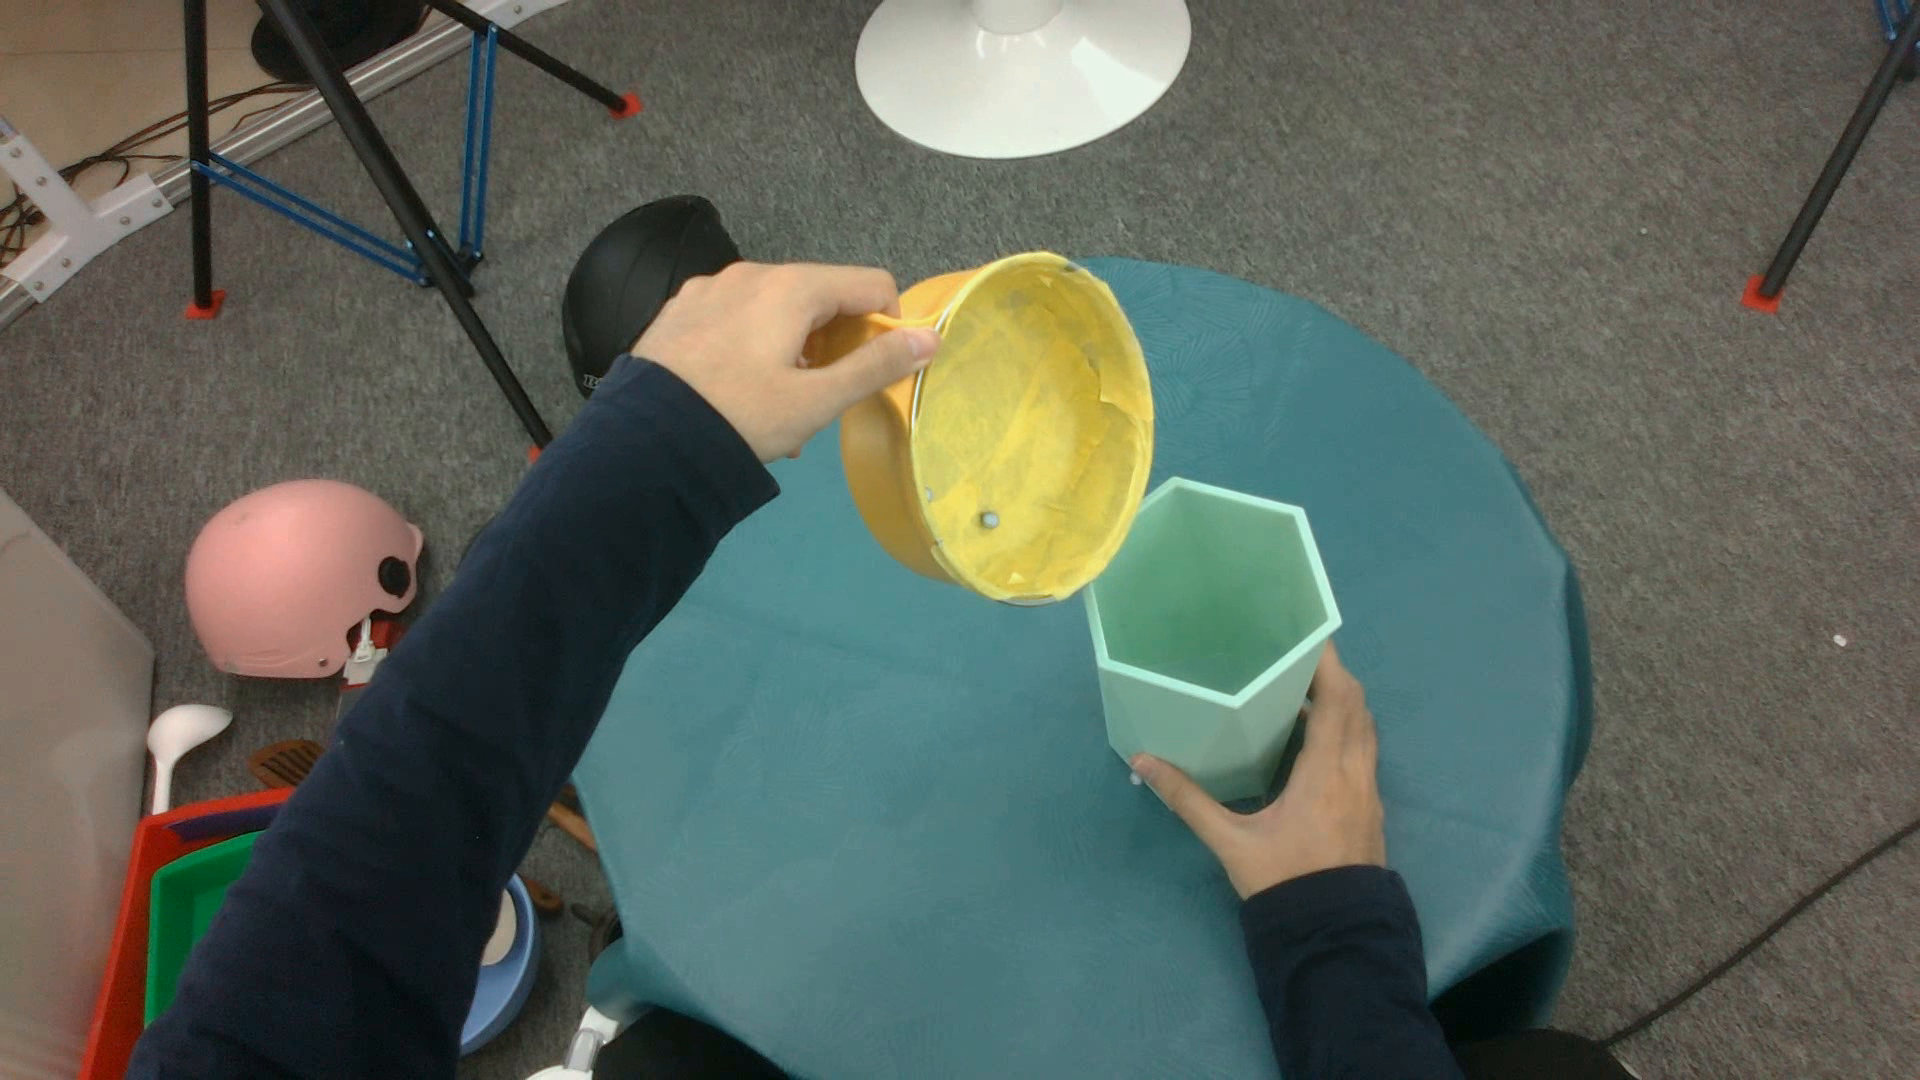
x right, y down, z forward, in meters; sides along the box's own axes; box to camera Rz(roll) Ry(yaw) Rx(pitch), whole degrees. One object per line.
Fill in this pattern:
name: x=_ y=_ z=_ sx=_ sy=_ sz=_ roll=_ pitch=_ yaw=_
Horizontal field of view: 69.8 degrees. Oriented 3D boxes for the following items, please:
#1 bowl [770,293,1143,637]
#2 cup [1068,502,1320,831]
bowl: x=0.003 y=-0.040 z=0.626 sx=0.074 sy=0.179 sz=0.153 roll=10 pitch=82 yaw=46
cup: x=0.122 y=0.076 z=0.733 sx=0.131 sy=0.162 sz=0.115 roll=13 pitch=60 yaw=19
